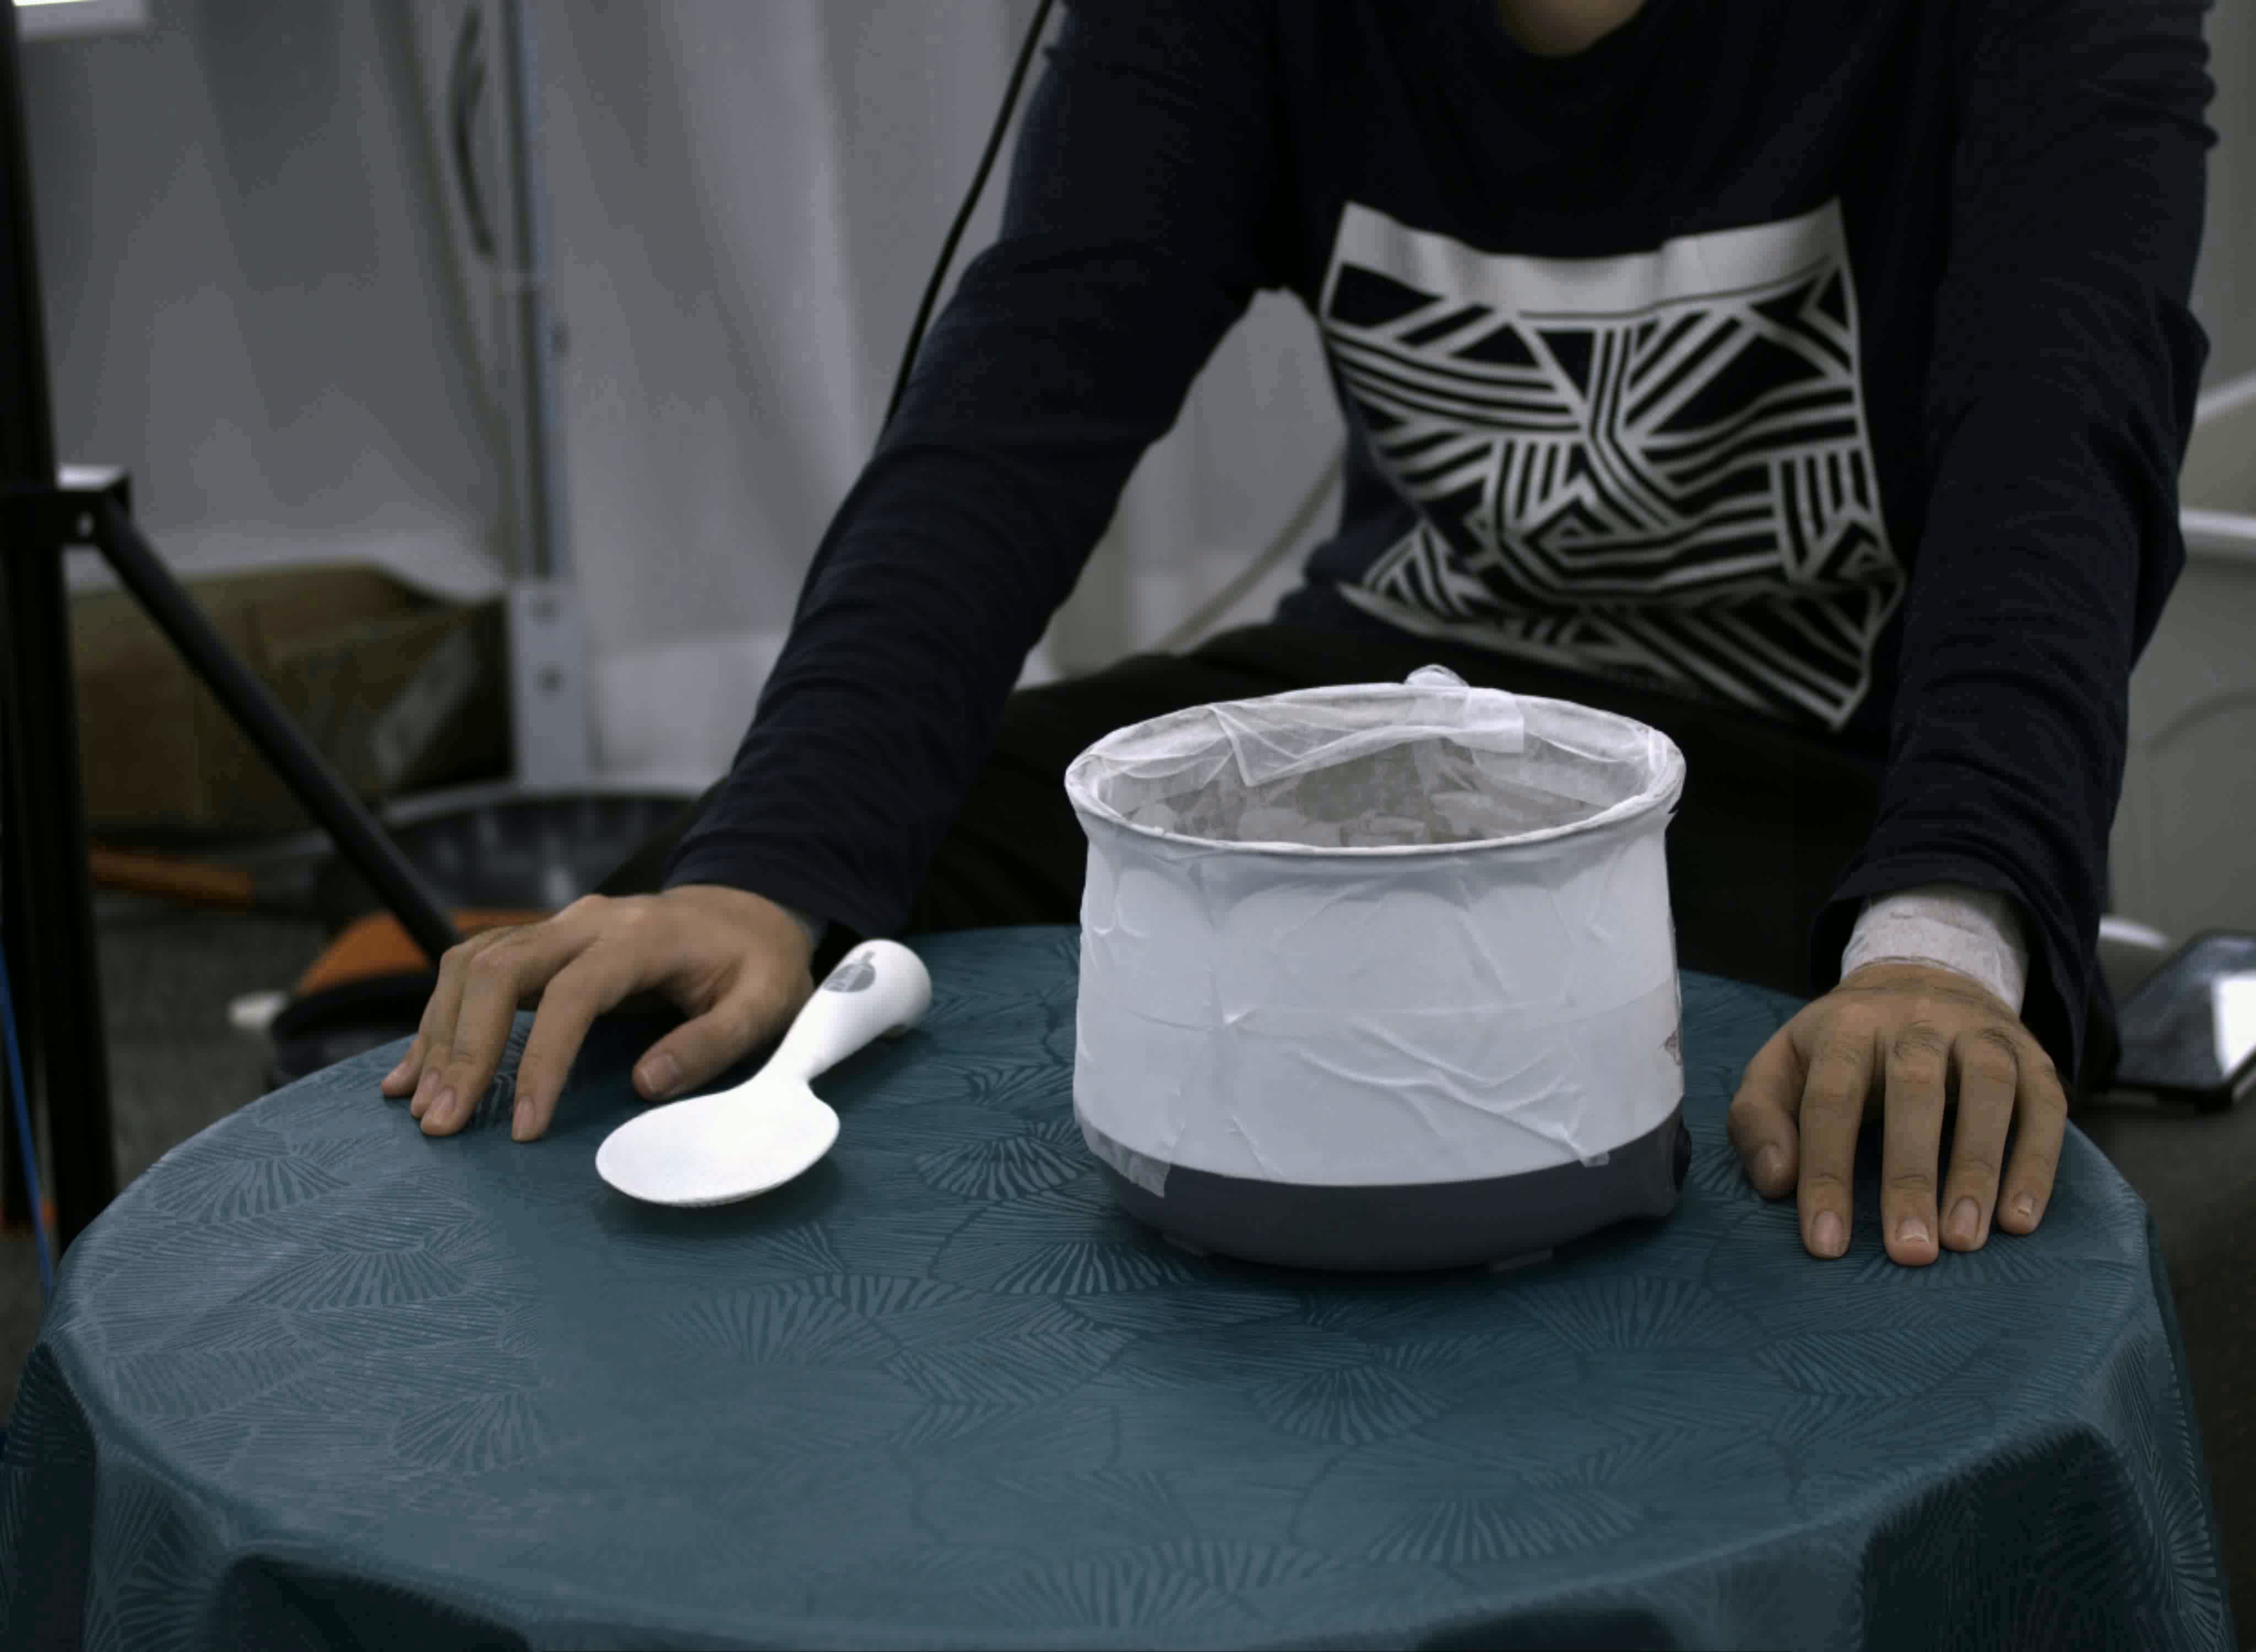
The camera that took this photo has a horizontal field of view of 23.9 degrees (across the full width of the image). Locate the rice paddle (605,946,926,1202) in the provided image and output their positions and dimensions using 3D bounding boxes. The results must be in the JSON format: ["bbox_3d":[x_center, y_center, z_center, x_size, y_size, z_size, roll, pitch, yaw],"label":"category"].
[{"bbox_3d":[-0.104,0.078,1.631,0.069,0.029,0.203,0,15,15],"label":"rice paddle"}]

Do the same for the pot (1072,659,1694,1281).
[{"bbox_3d":[0.077,0.036,1.553,0.179,0.136,0.232,3,17,11],"label":"pot"}]
